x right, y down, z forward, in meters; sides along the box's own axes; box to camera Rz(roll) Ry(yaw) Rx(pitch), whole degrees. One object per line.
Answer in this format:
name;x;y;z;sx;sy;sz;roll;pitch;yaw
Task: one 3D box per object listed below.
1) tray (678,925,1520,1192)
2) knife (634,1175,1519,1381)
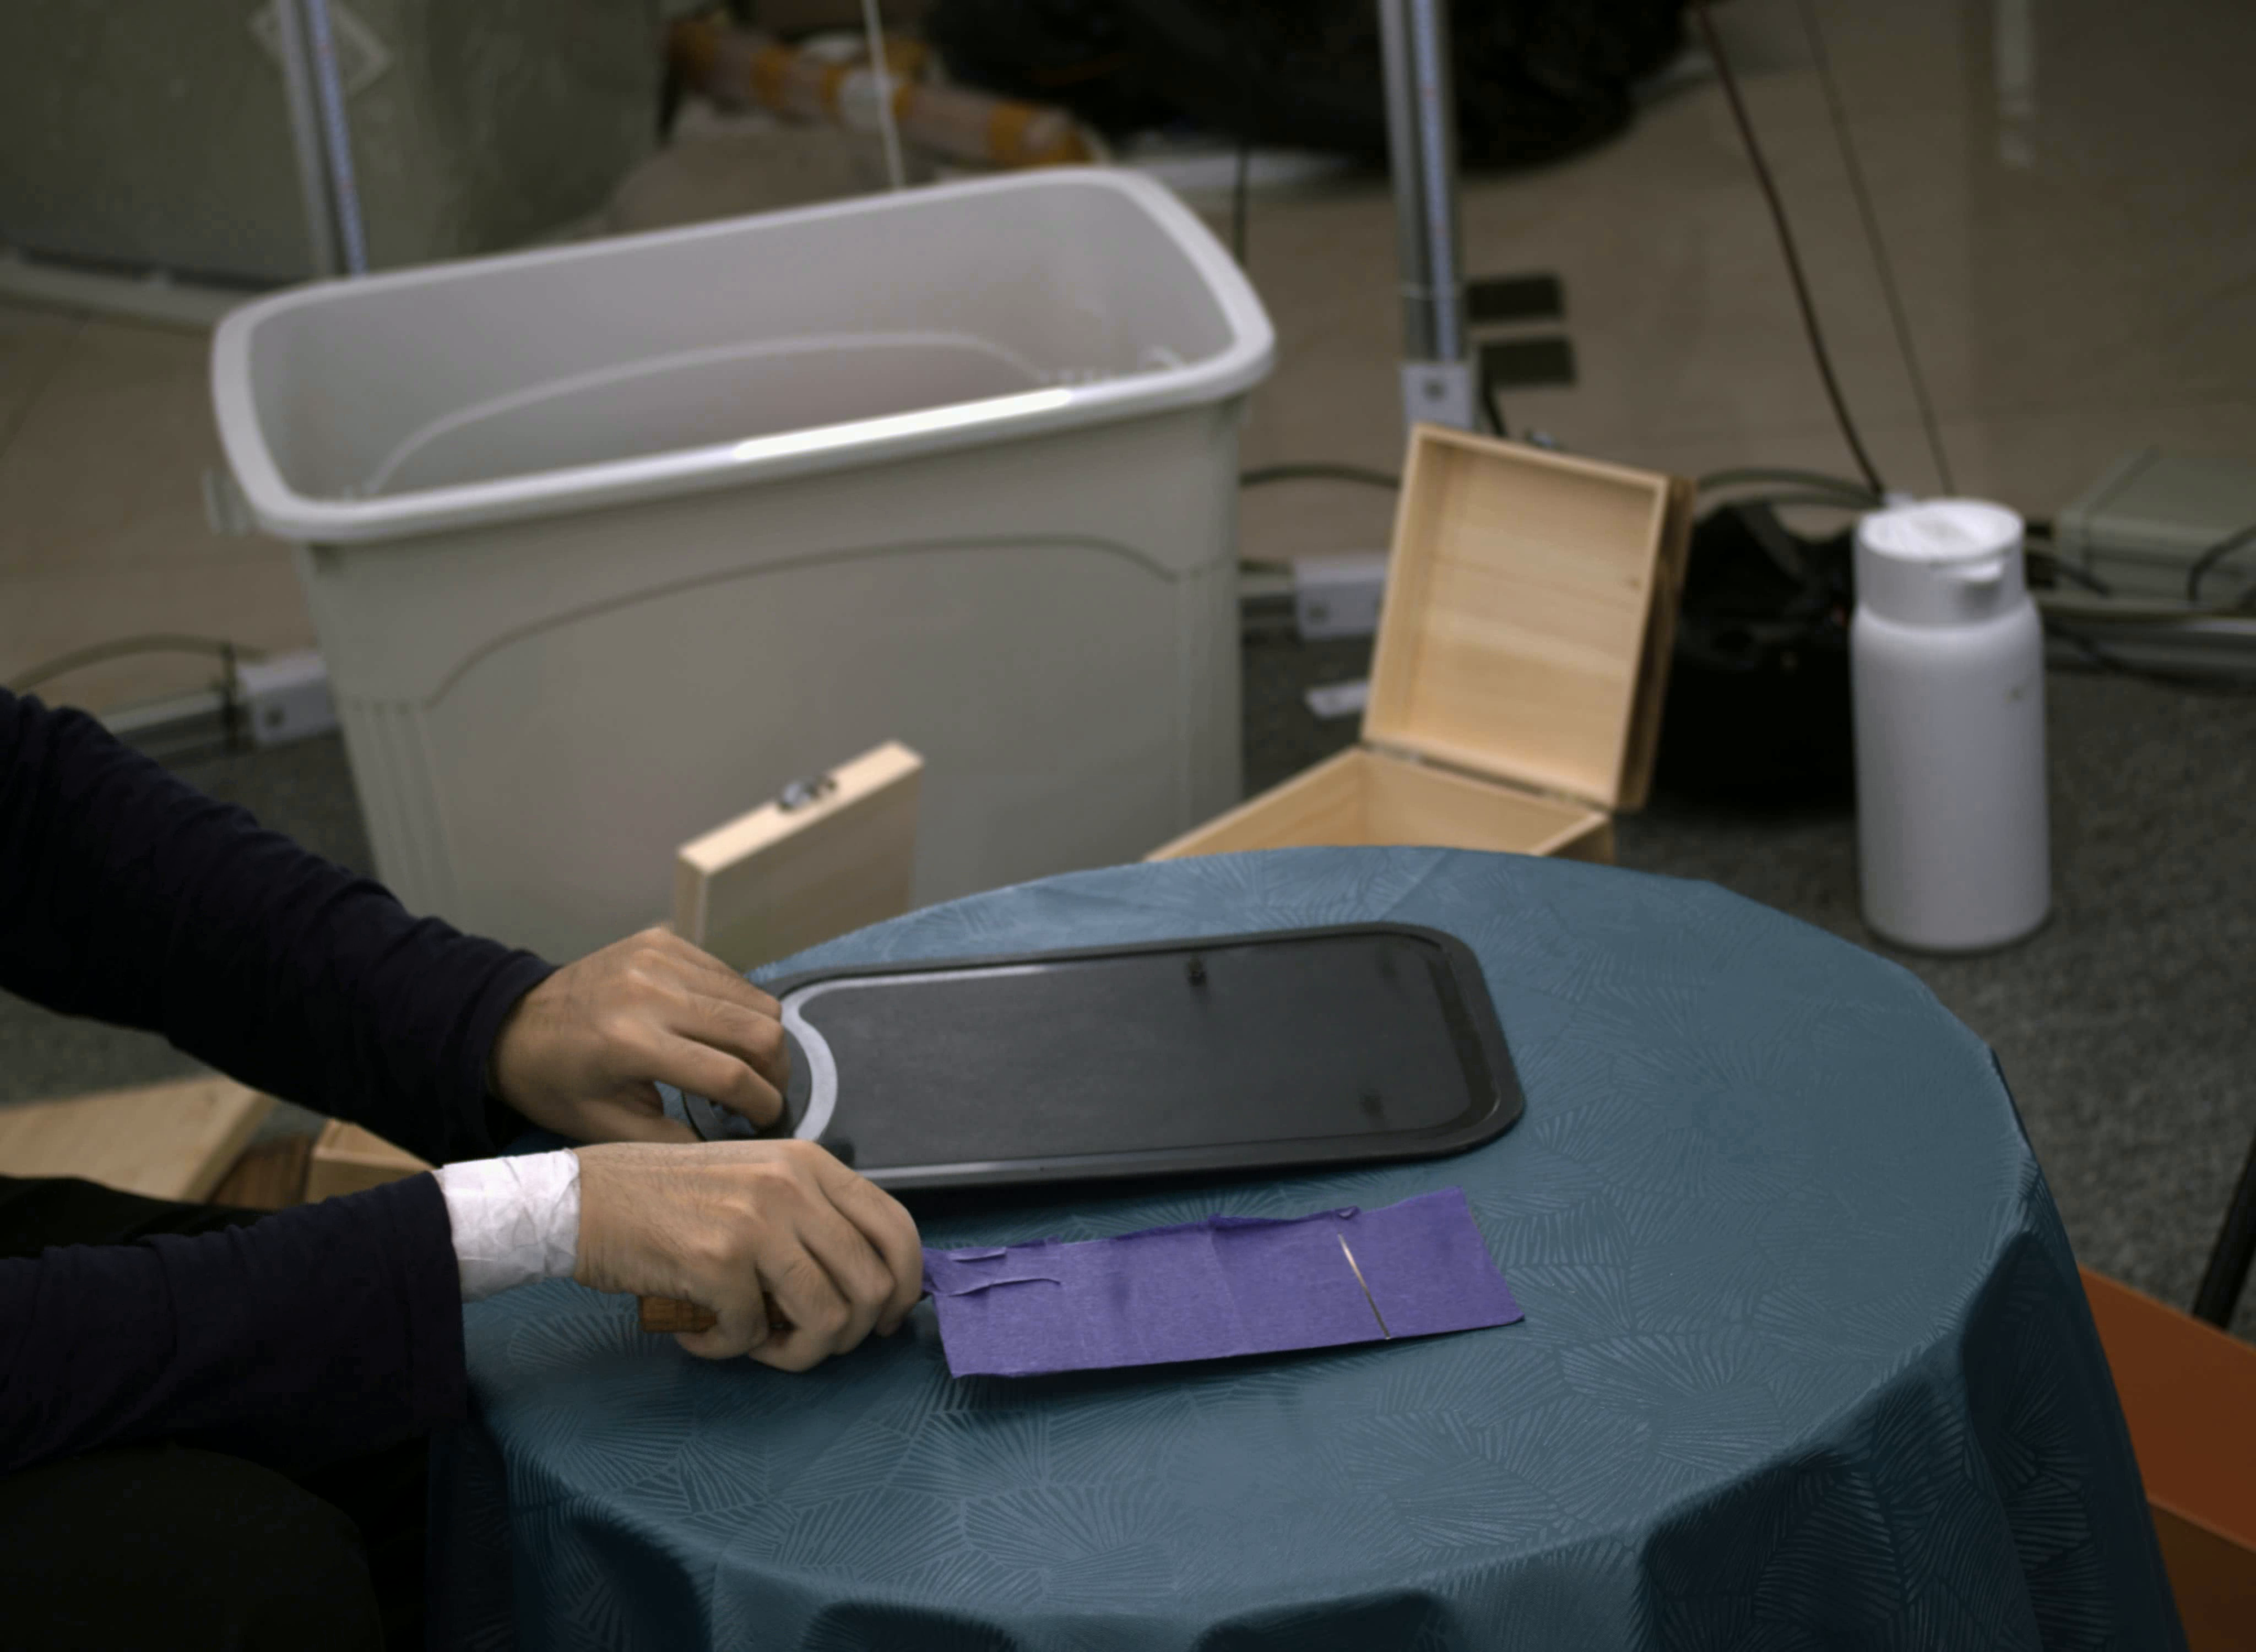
tray;-0.015;0.089;2.230;0.325;0.010;0.208;-4;24;-3
knife;-0.019;0.167;2.050;0.314;0.033;0.102;-7;25;-7
